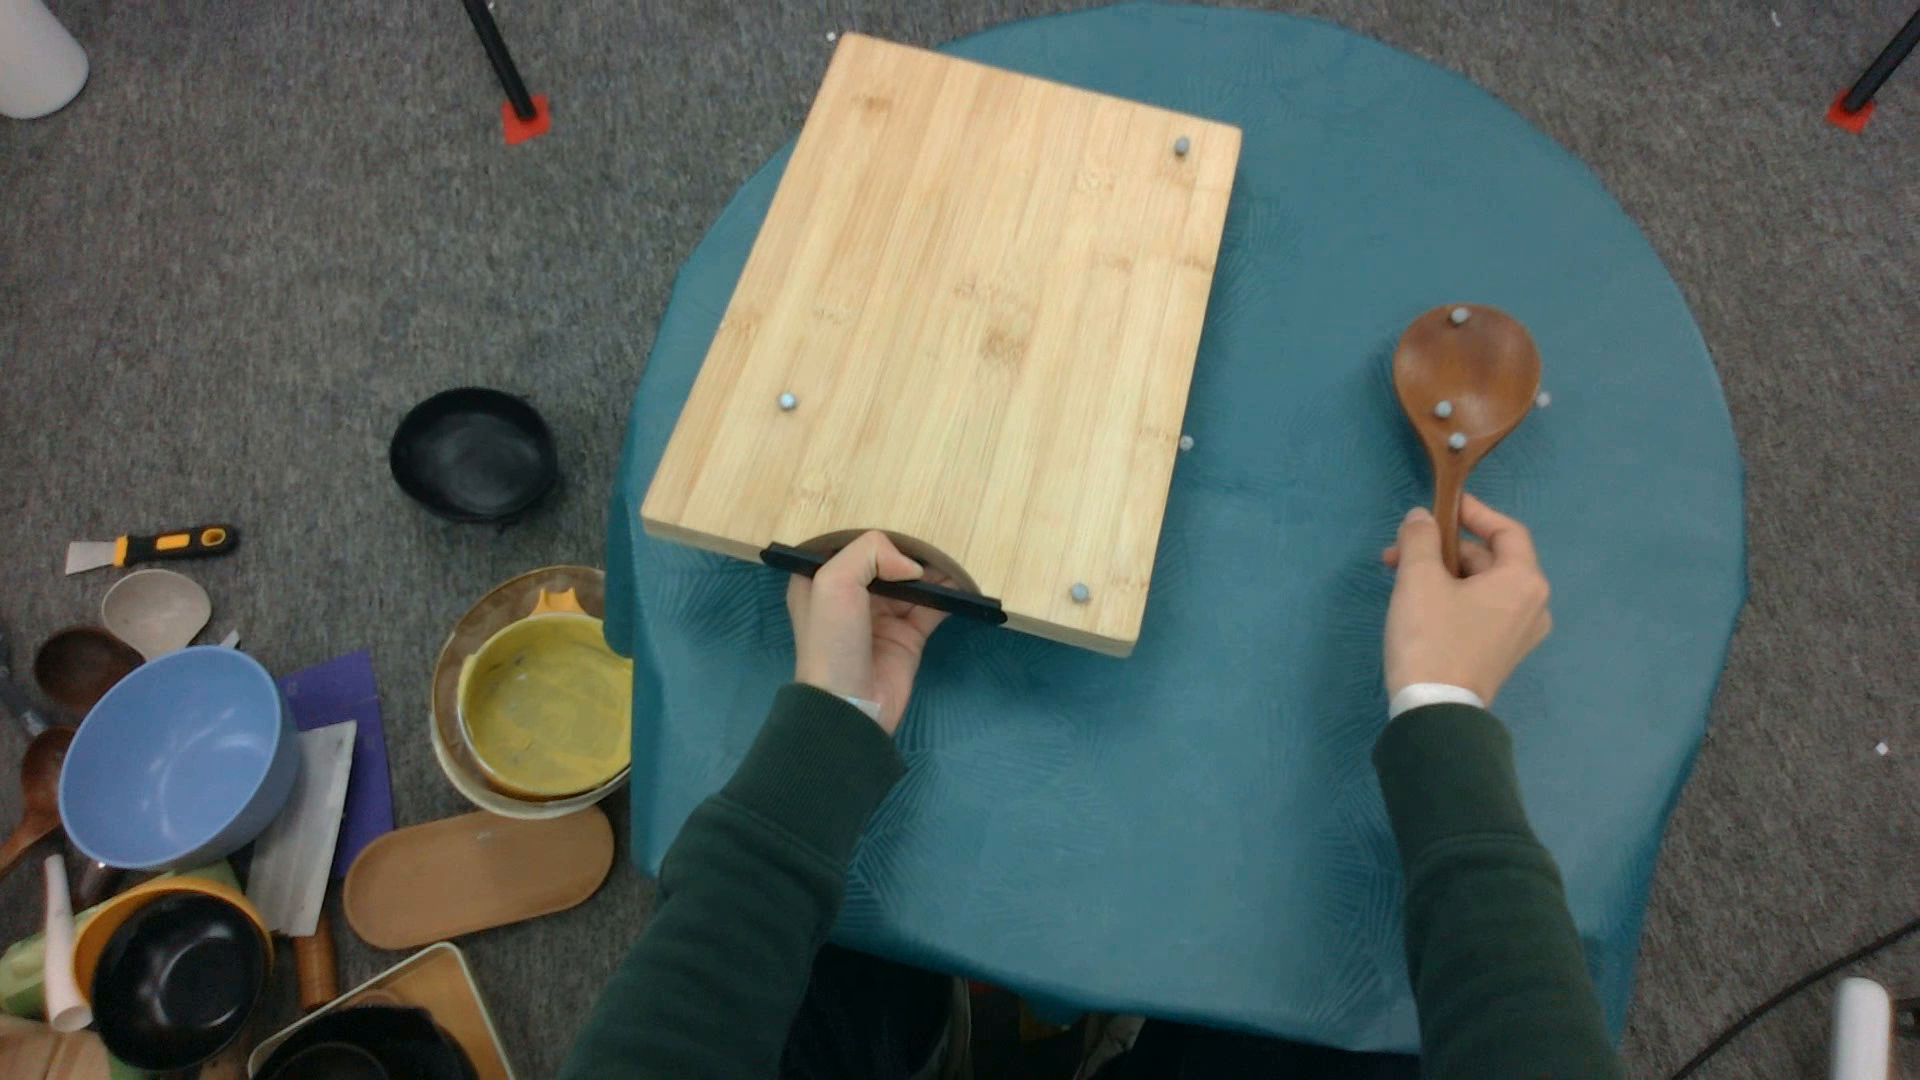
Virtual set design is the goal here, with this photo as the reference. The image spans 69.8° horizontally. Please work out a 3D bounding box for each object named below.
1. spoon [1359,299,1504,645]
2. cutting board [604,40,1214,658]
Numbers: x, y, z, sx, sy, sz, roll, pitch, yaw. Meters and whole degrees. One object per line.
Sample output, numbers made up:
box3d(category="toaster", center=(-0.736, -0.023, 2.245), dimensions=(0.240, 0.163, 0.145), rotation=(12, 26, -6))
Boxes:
box3d(category="spoon", center=(0.233, -0.040, 0.700), dimensions=(0.075, 0.017, 0.217), rotation=(12, 58, 10))
box3d(category="cutting board", center=(-0.009, -0.119, 0.727), dimensions=(0.250, 0.023, 0.350), rotation=(13, 59, 2))
